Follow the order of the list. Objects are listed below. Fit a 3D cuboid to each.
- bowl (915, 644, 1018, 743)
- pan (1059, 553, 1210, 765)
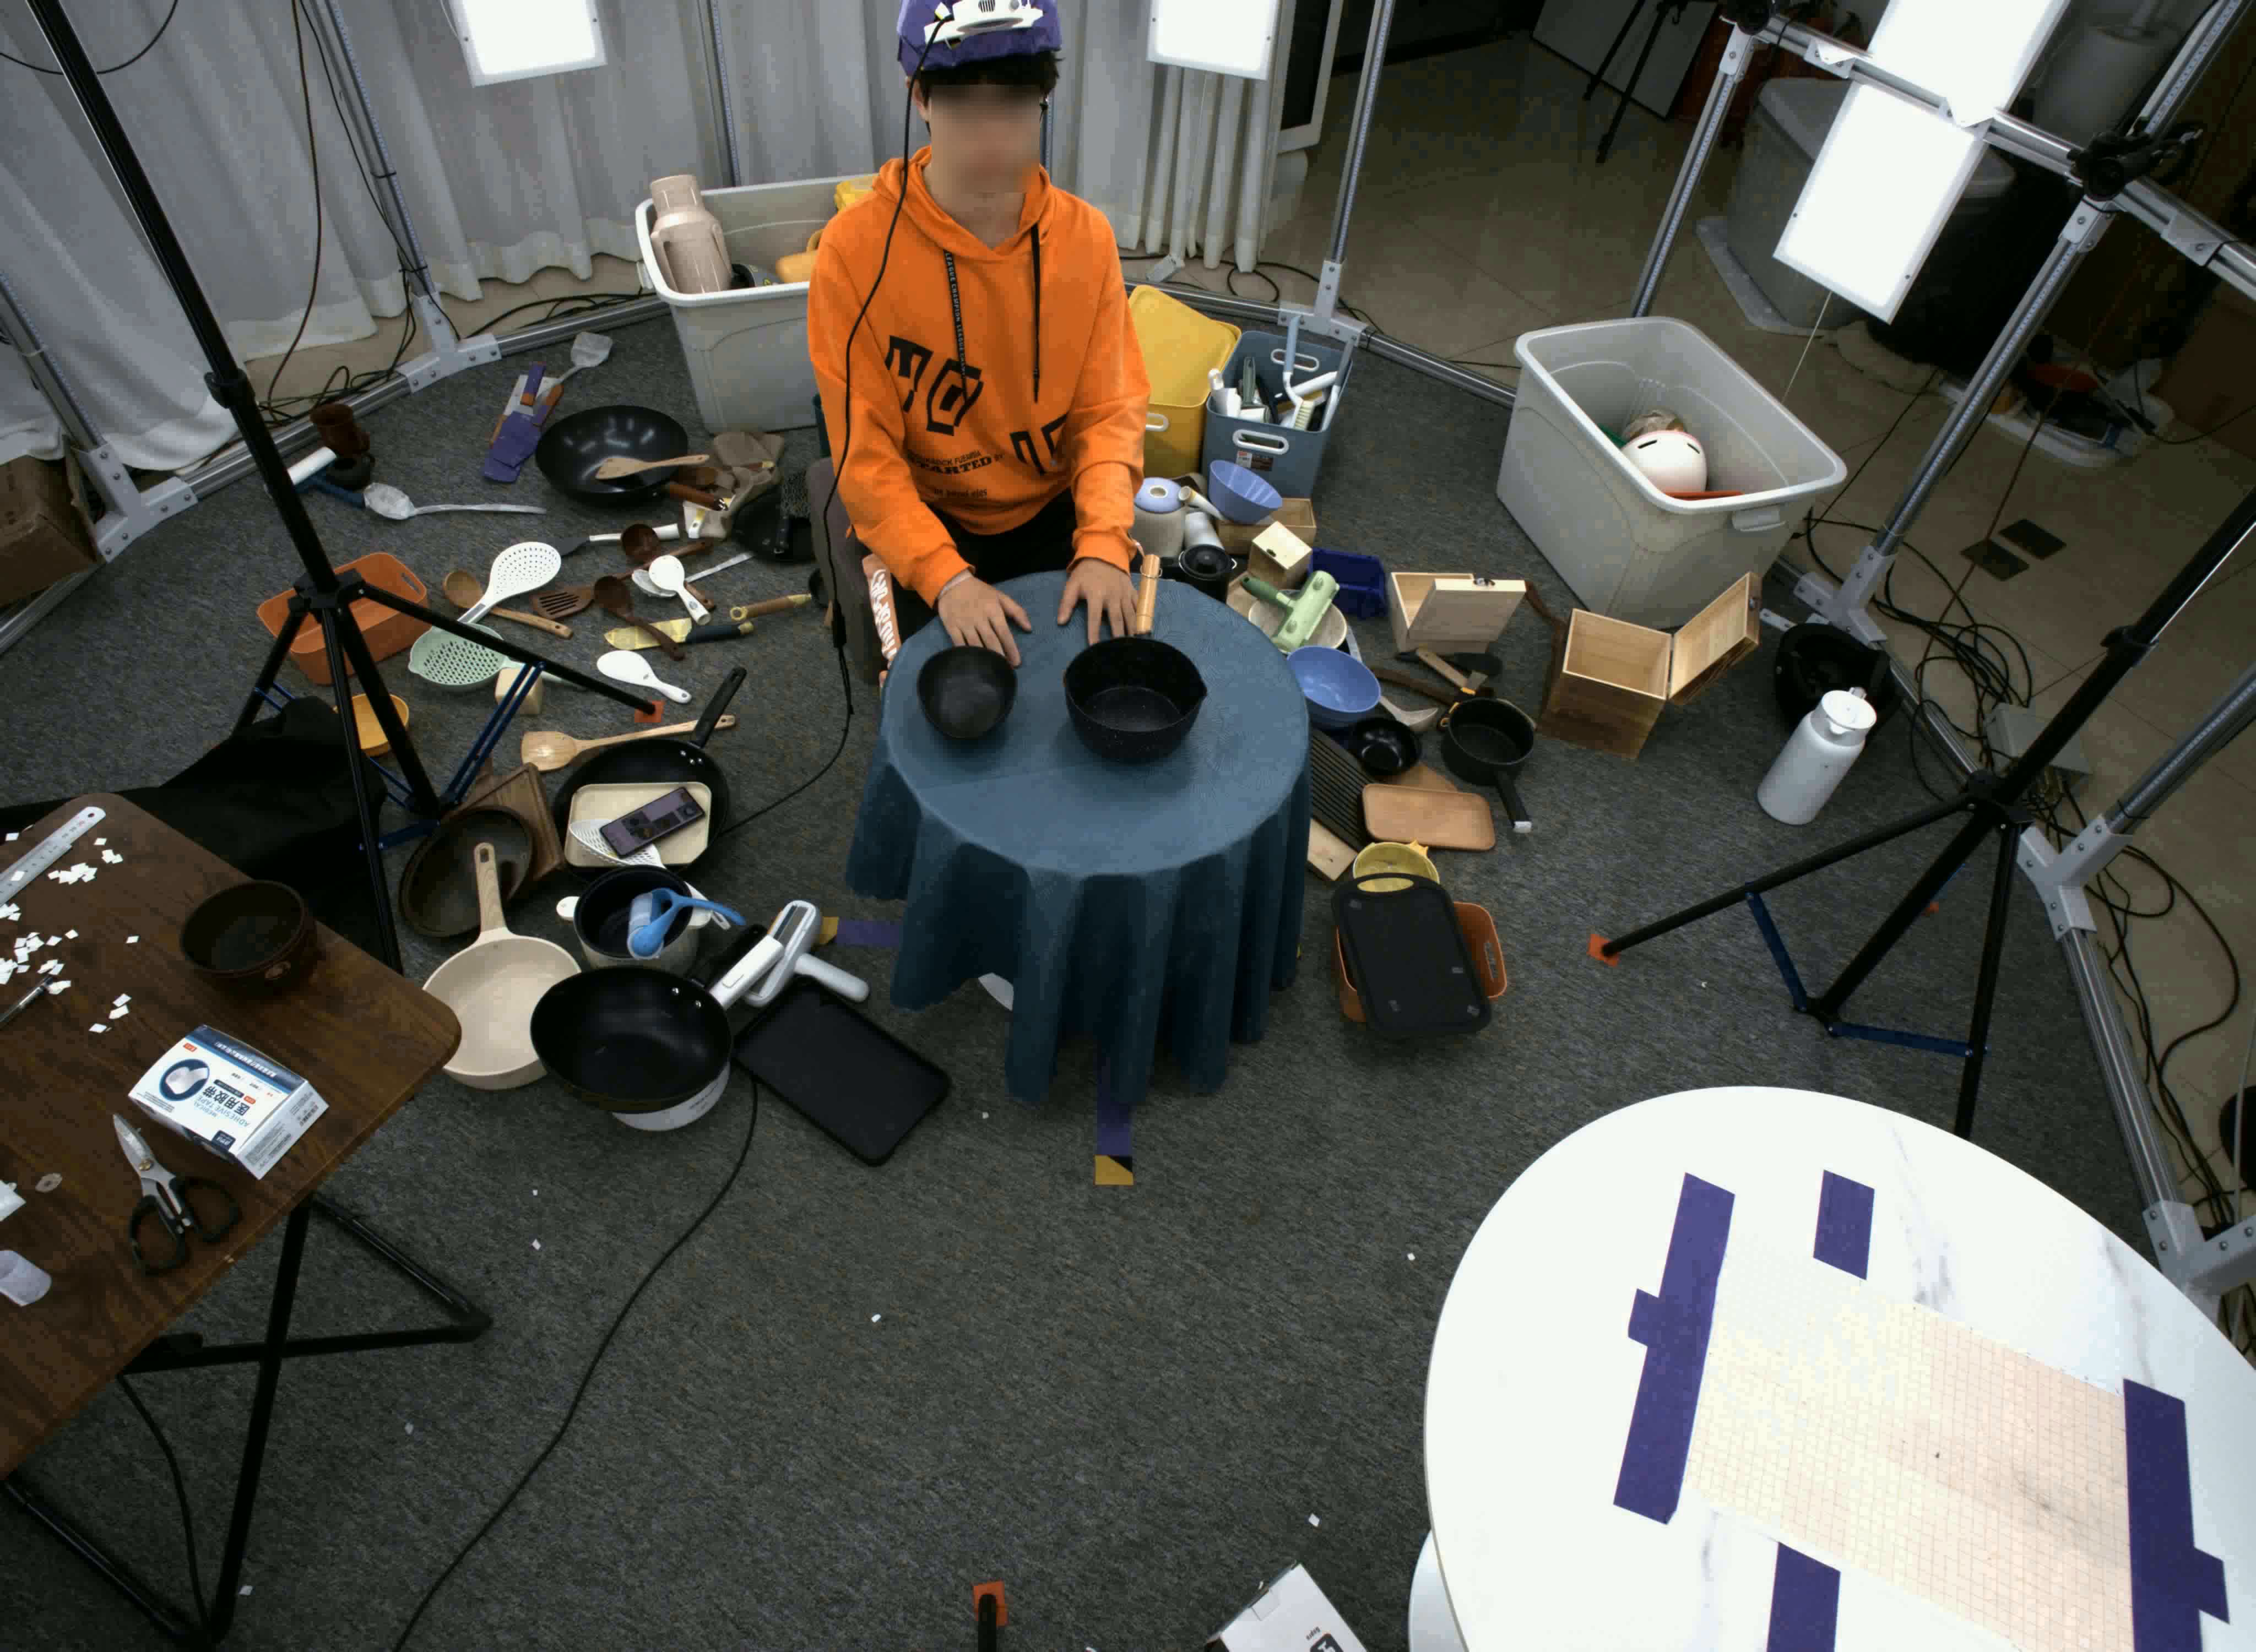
[{"bbox_3d":[-0.220,-0.172,1.762,0.137,0.065,0.174,1,51,-3],"label":"bowl"},{"bbox_3d":[0.014,-0.236,1.805,0.207,0.105,0.351,5,50,2],"label":"pan"}]
